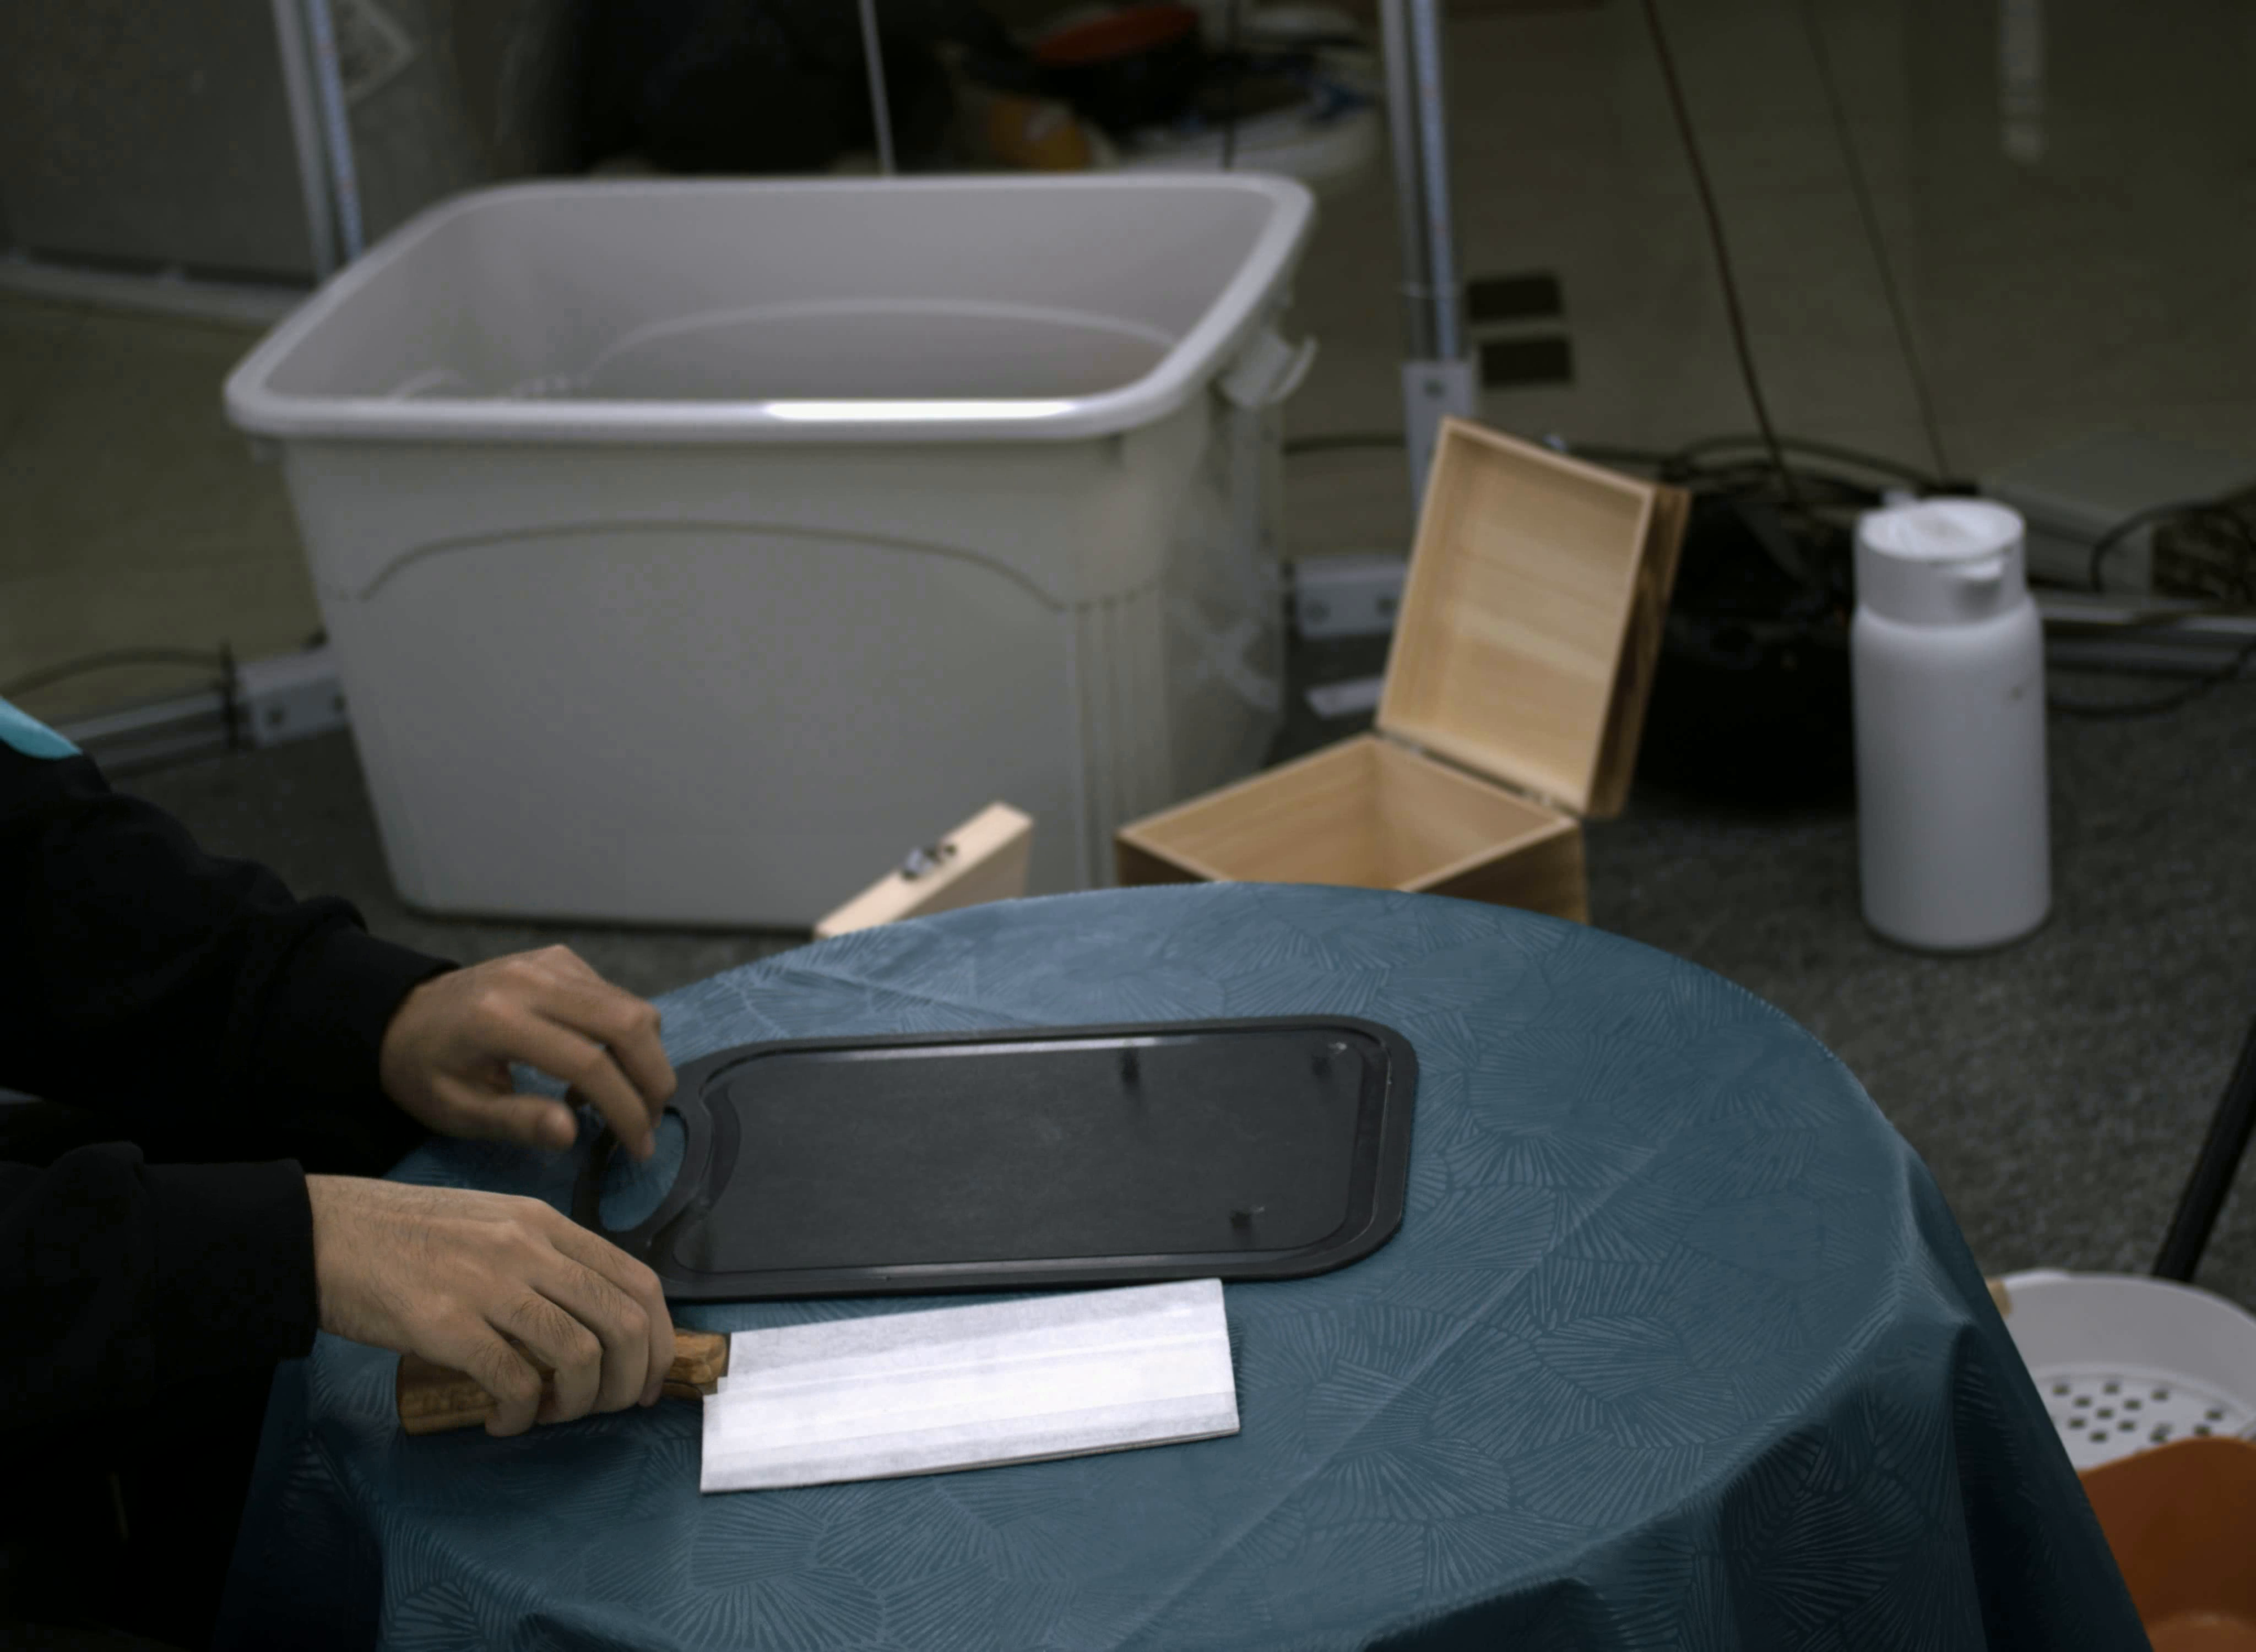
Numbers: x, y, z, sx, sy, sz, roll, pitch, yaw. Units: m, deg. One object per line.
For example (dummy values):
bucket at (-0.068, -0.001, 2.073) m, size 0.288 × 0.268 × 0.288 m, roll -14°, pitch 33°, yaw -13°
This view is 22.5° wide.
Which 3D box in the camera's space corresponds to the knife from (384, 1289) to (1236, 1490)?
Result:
knife at (-0.115, 0.203, 2.017) m, size 0.305 × 0.021 × 0.091 m, roll -6°, pitch 31°, yaw 0°

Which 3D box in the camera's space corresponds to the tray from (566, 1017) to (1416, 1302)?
tray at (-0.054, 0.125, 2.180) m, size 0.325 × 0.010 × 0.208 m, roll -3°, pitch 25°, yaw 8°
